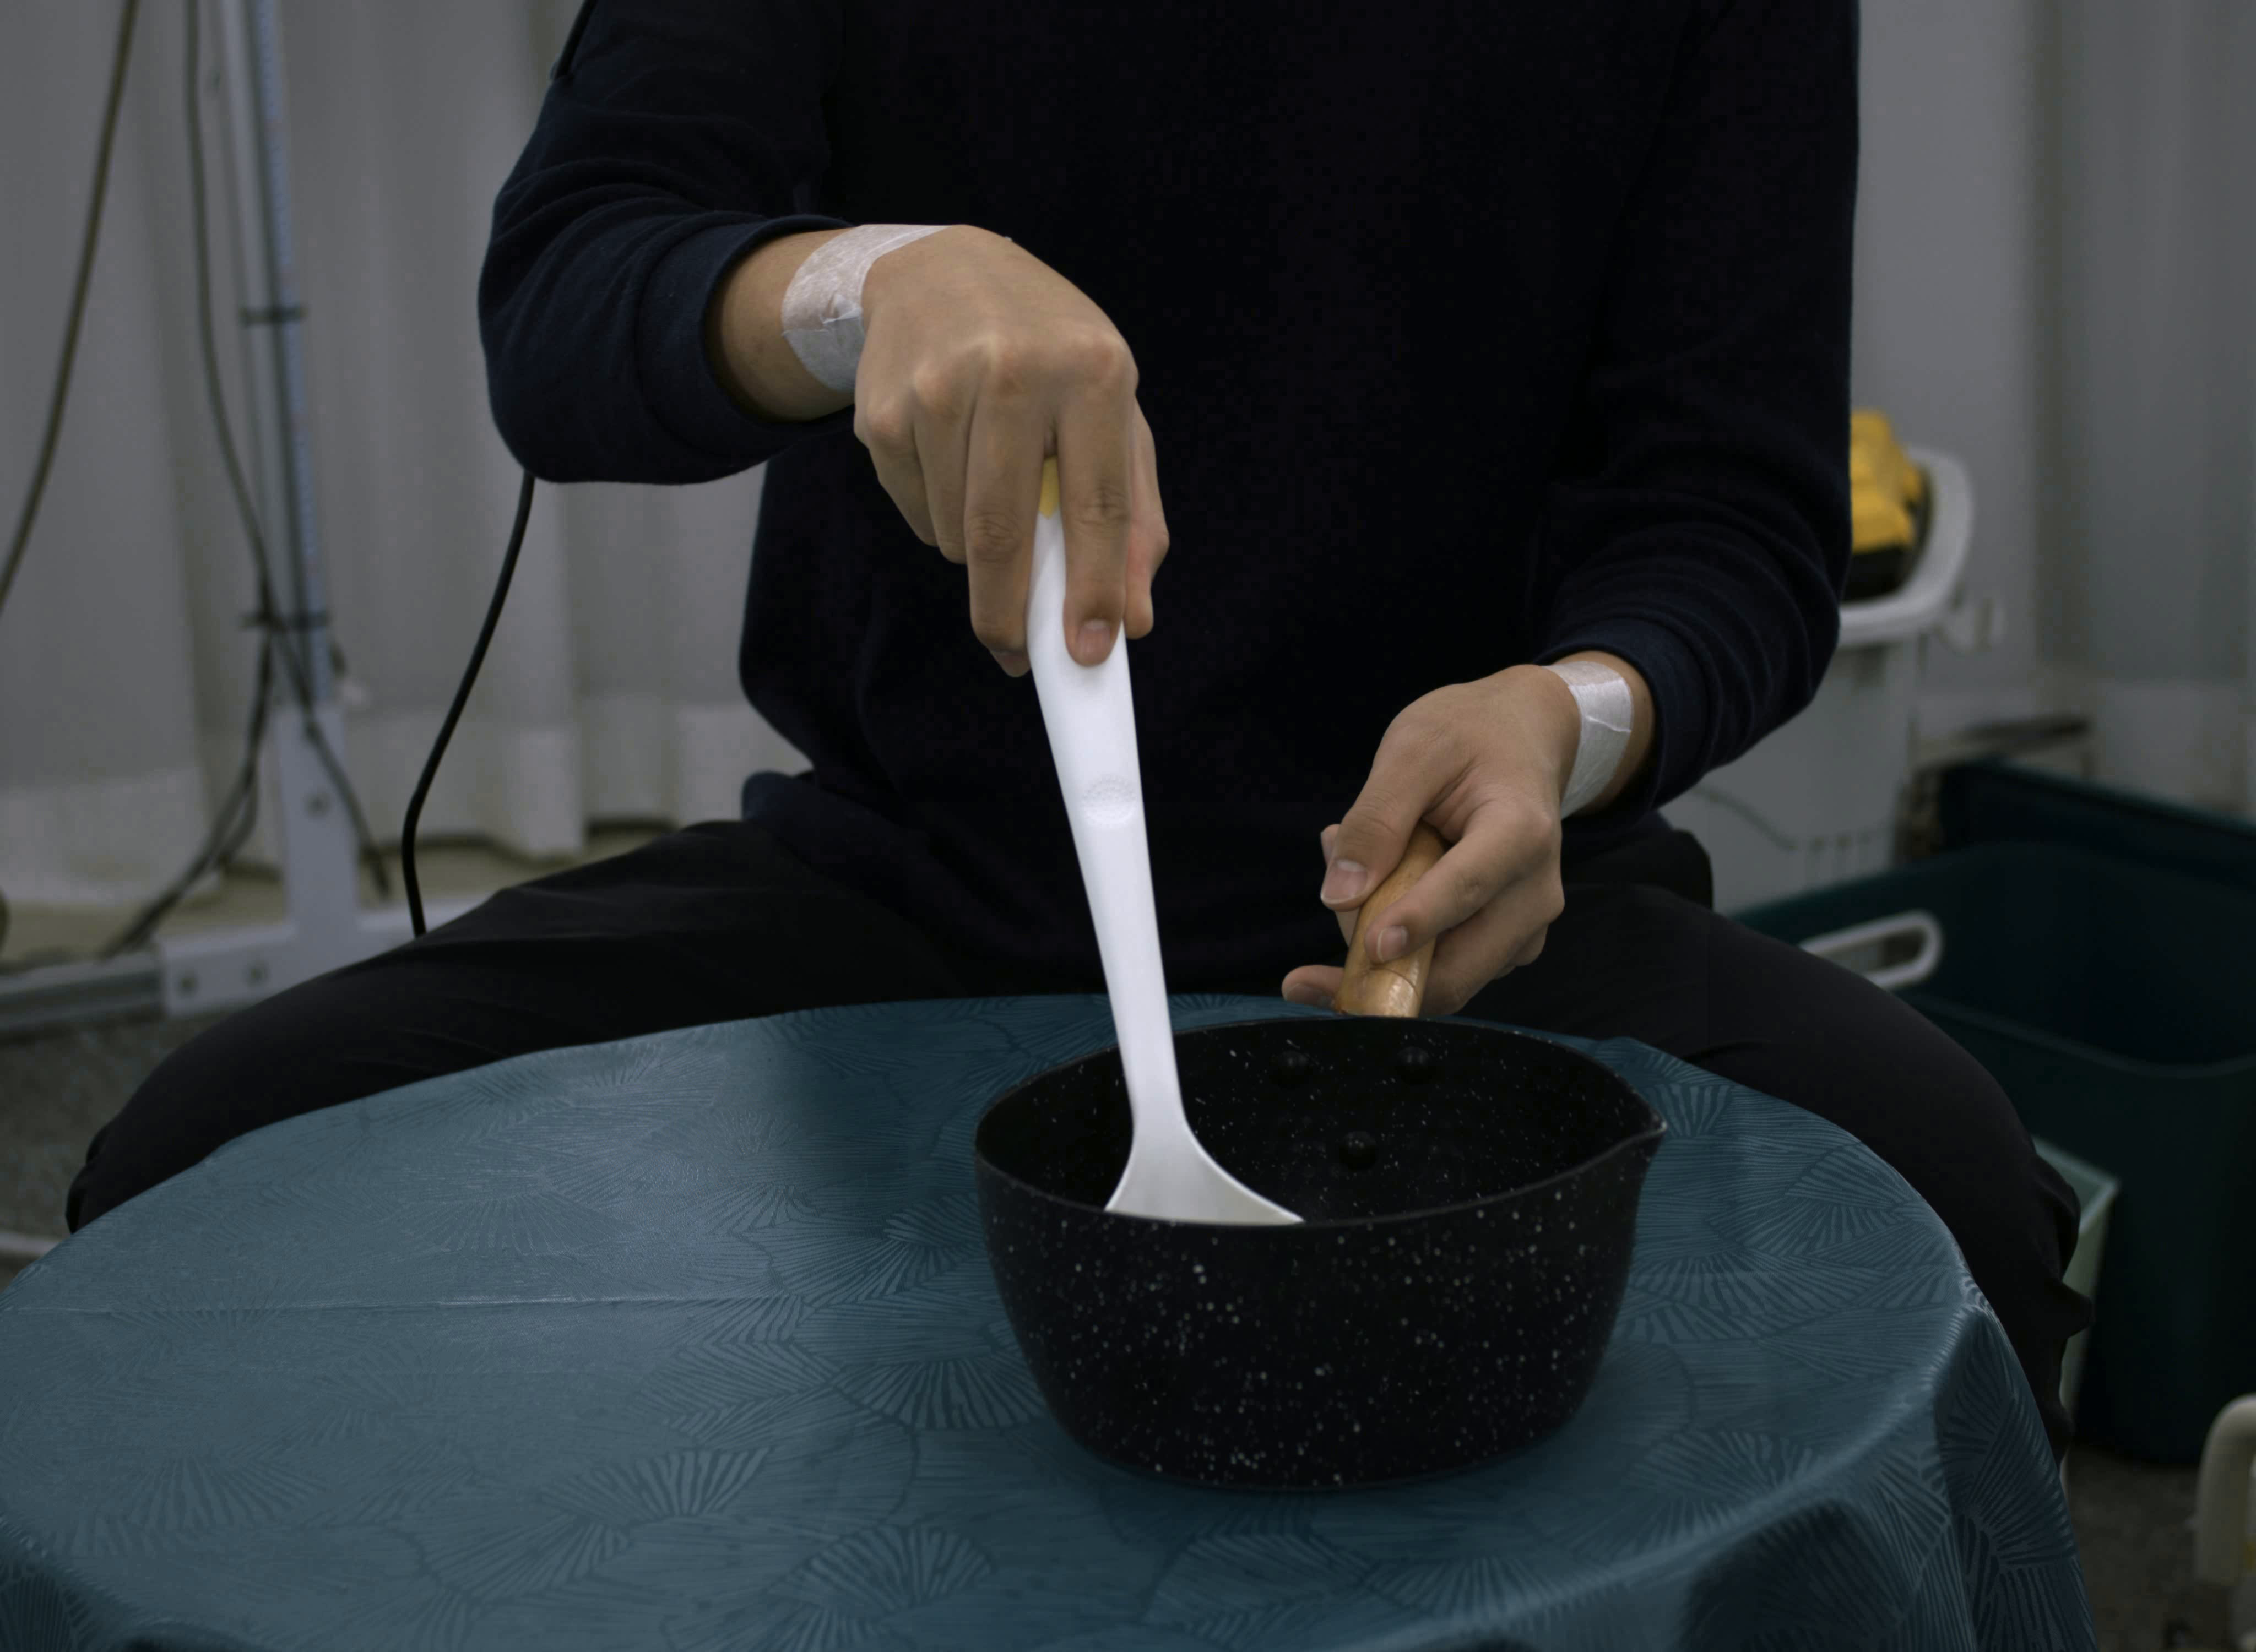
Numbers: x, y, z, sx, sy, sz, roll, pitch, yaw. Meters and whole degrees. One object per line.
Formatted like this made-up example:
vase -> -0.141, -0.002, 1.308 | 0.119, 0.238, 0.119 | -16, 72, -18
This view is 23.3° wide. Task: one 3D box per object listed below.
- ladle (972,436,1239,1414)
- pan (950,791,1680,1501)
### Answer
ladle -> -0.008, 0.026, 1.554 | 0.090, 0.296, 0.069 | -10, -14, 2
pan -> 0.064, 0.088, 1.596 | 0.207, 0.108, 0.345 | -1, 16, 10
